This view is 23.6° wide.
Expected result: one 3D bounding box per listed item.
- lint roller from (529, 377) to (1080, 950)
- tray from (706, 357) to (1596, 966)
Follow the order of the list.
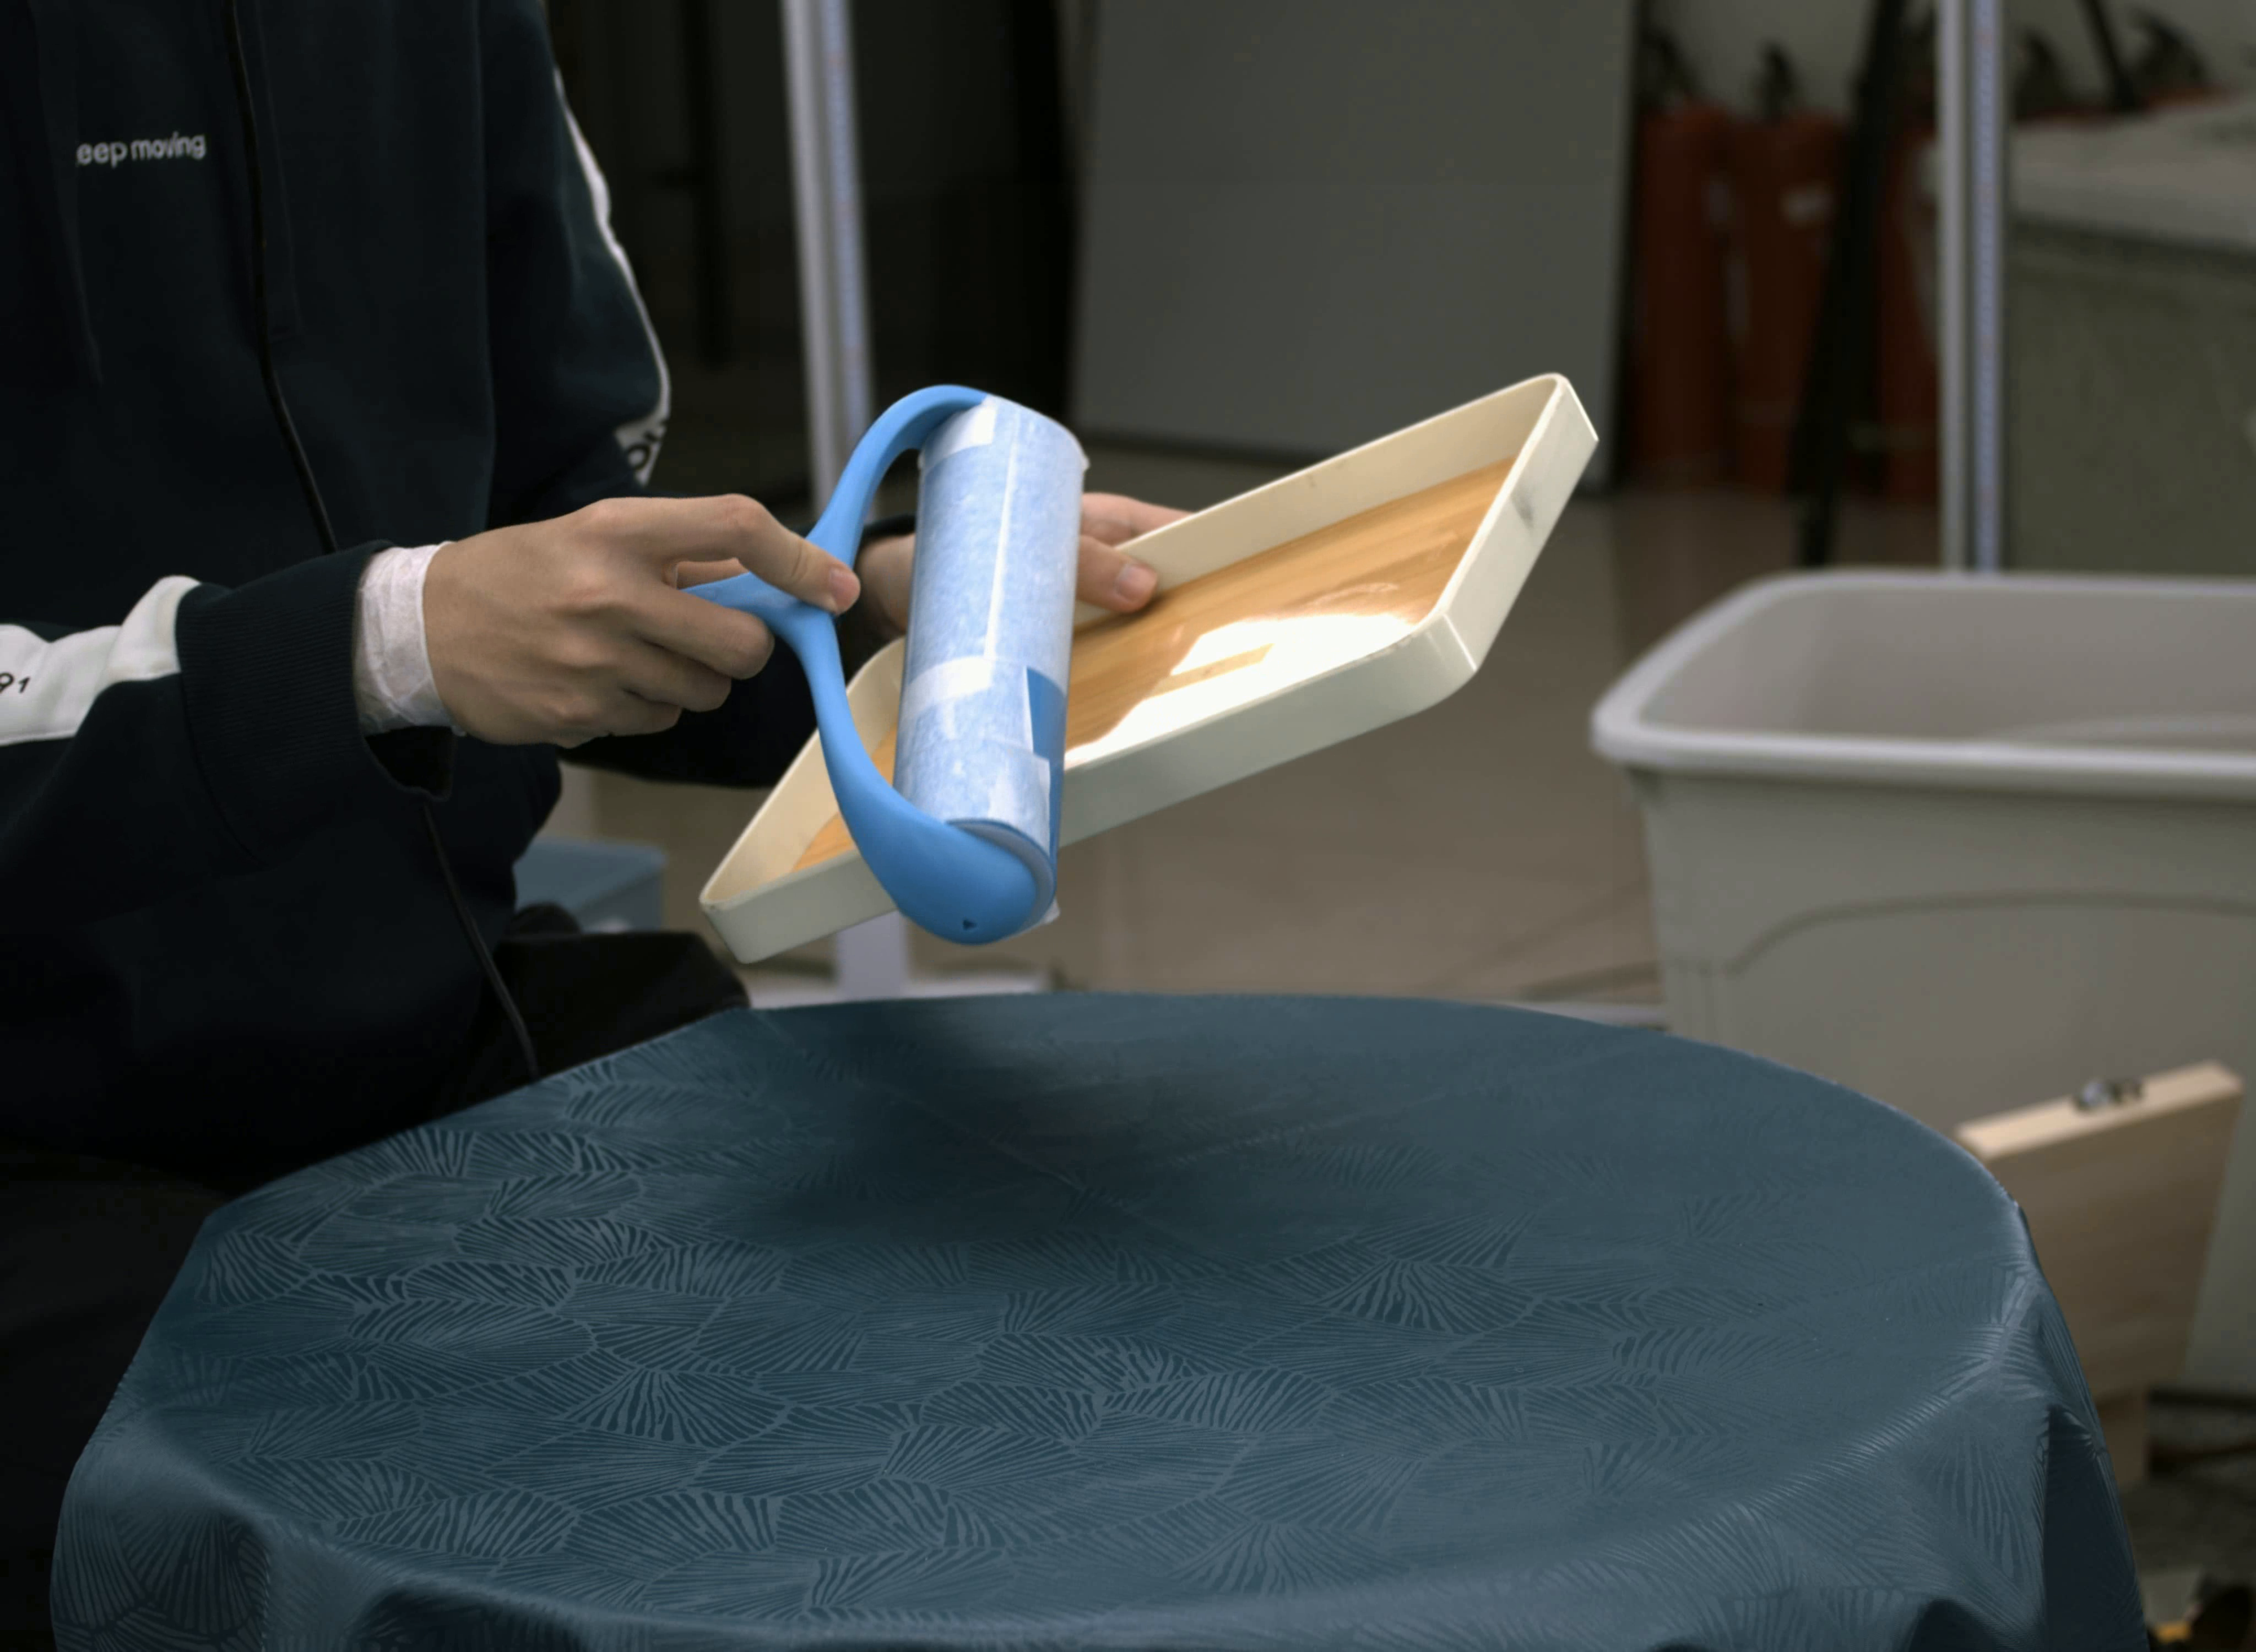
[{"bbox_3d":[-0.101,-0.052,1.706,0.177,0.068,0.231,-1,47,-2],"label":"lint roller"},{"bbox_3d":[0.008,-0.053,1.793,0.302,0.027,0.190,-22,21,31],"label":"tray"}]
